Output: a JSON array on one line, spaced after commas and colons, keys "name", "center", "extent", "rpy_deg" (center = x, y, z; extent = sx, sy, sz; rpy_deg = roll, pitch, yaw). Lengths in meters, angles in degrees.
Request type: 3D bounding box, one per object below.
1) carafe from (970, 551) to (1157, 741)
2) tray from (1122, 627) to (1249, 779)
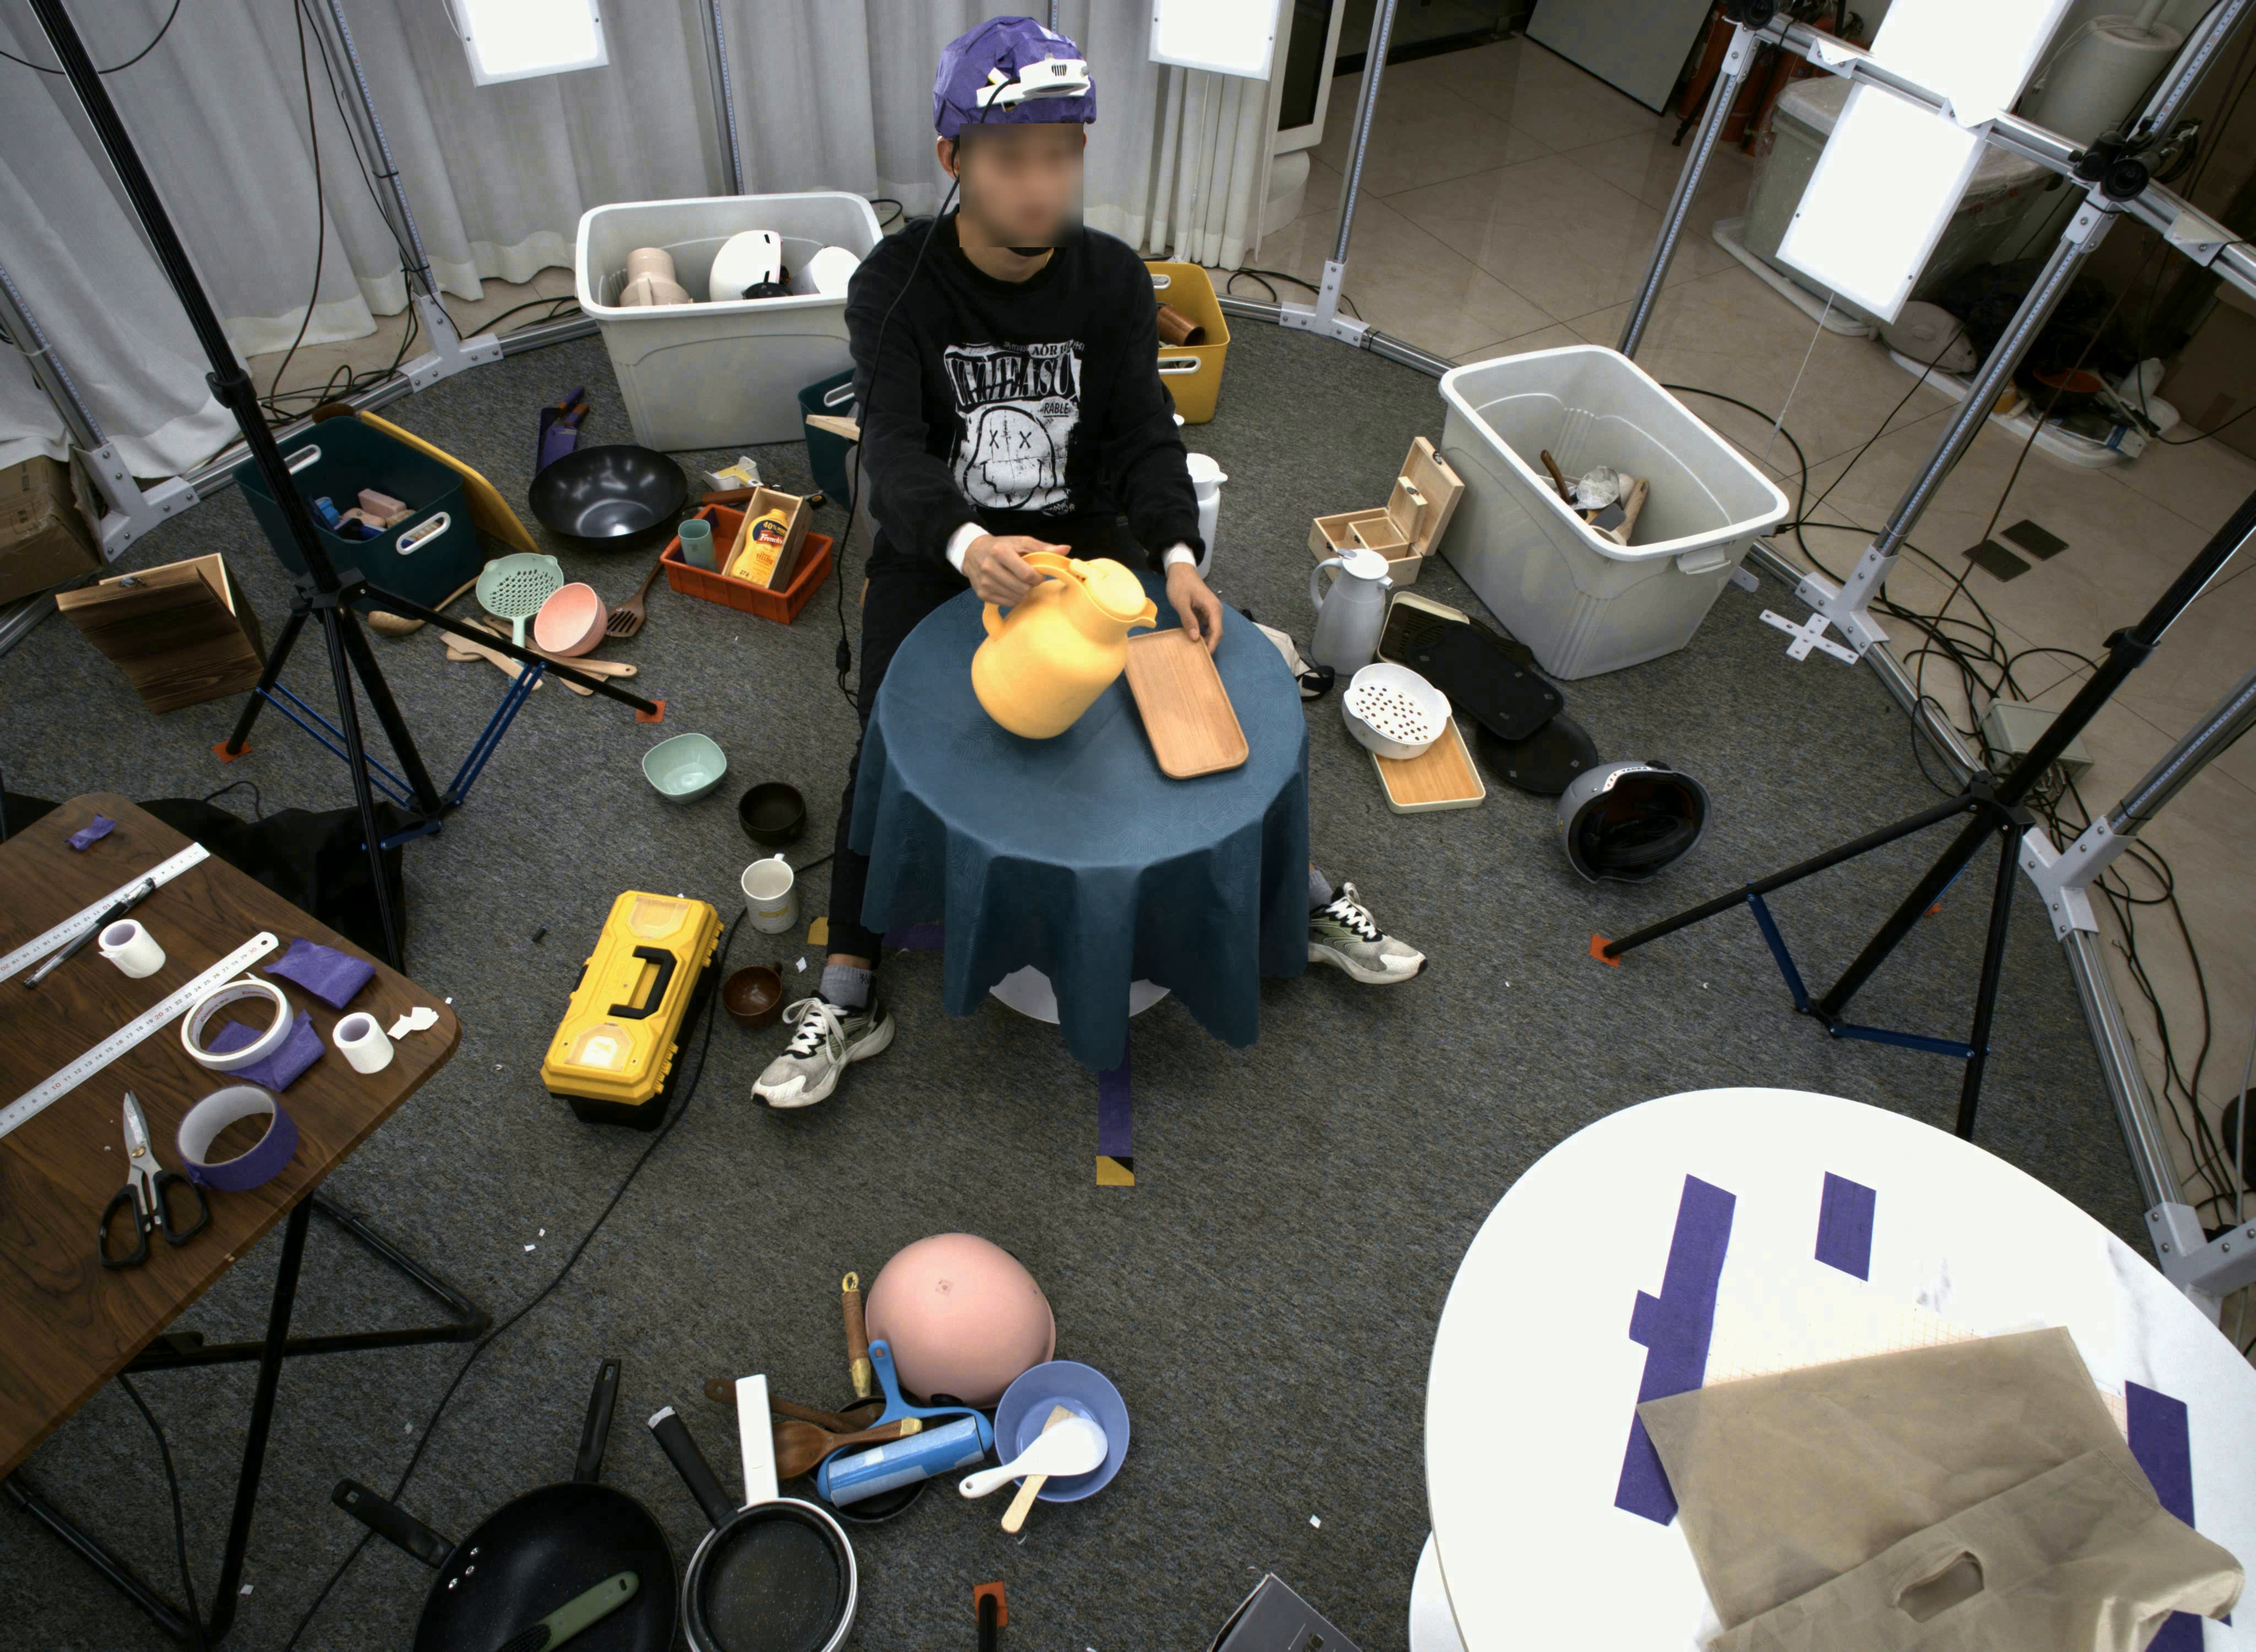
[{"name": "carafe", "center": [-0.099, -0.245, 1.662], "extent": [0.200, 0.257, 0.167], "rpy_deg": [28, 43, -22]}, {"name": "tray", "center": [0.076, -0.175, 1.793], "extent": [0.130, 0.022, 0.256], "rpy_deg": [-10, 57, -12]}]
